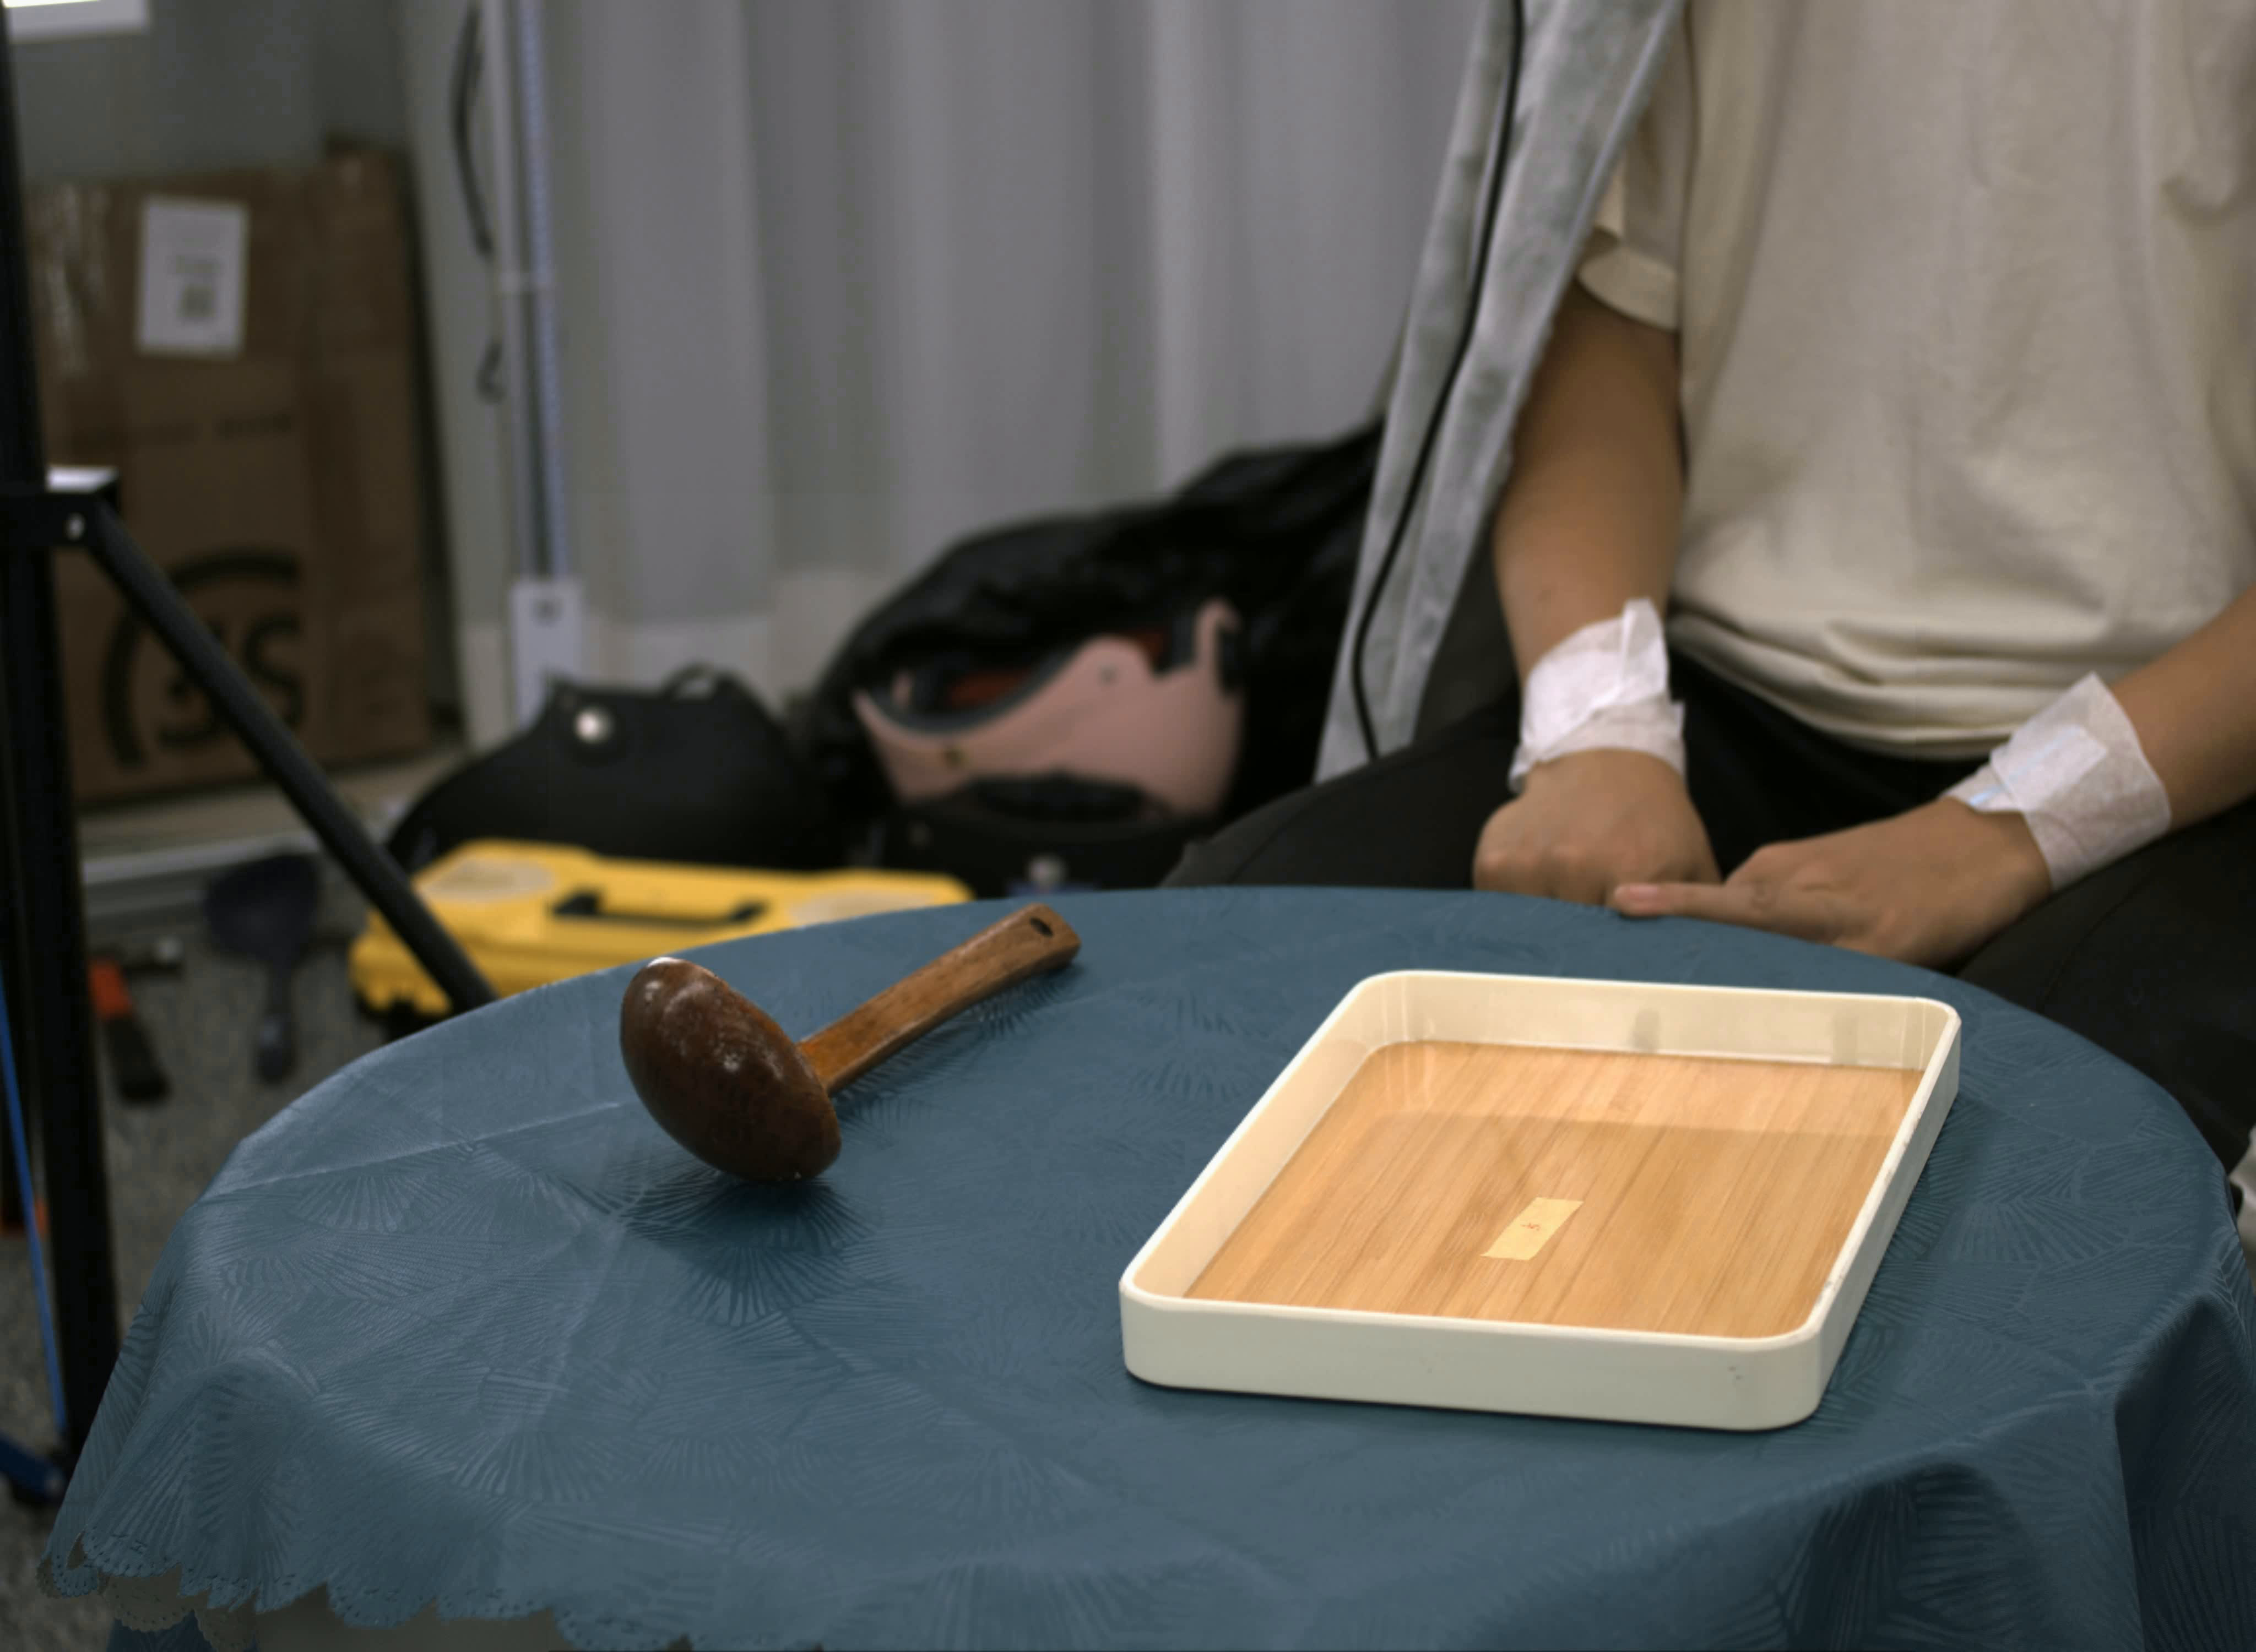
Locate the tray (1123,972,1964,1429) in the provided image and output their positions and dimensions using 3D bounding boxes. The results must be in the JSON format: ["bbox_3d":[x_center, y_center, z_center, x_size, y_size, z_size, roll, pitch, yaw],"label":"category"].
[{"bbox_3d":[0.126,0.101,1.508,0.193,0.027,0.297,2,16,17],"label":"tray"}]

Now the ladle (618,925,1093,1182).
[{"bbox_3d":[-0.069,0.048,1.653,0.083,0.077,0.269,46,31,11],"label":"ladle"}]
